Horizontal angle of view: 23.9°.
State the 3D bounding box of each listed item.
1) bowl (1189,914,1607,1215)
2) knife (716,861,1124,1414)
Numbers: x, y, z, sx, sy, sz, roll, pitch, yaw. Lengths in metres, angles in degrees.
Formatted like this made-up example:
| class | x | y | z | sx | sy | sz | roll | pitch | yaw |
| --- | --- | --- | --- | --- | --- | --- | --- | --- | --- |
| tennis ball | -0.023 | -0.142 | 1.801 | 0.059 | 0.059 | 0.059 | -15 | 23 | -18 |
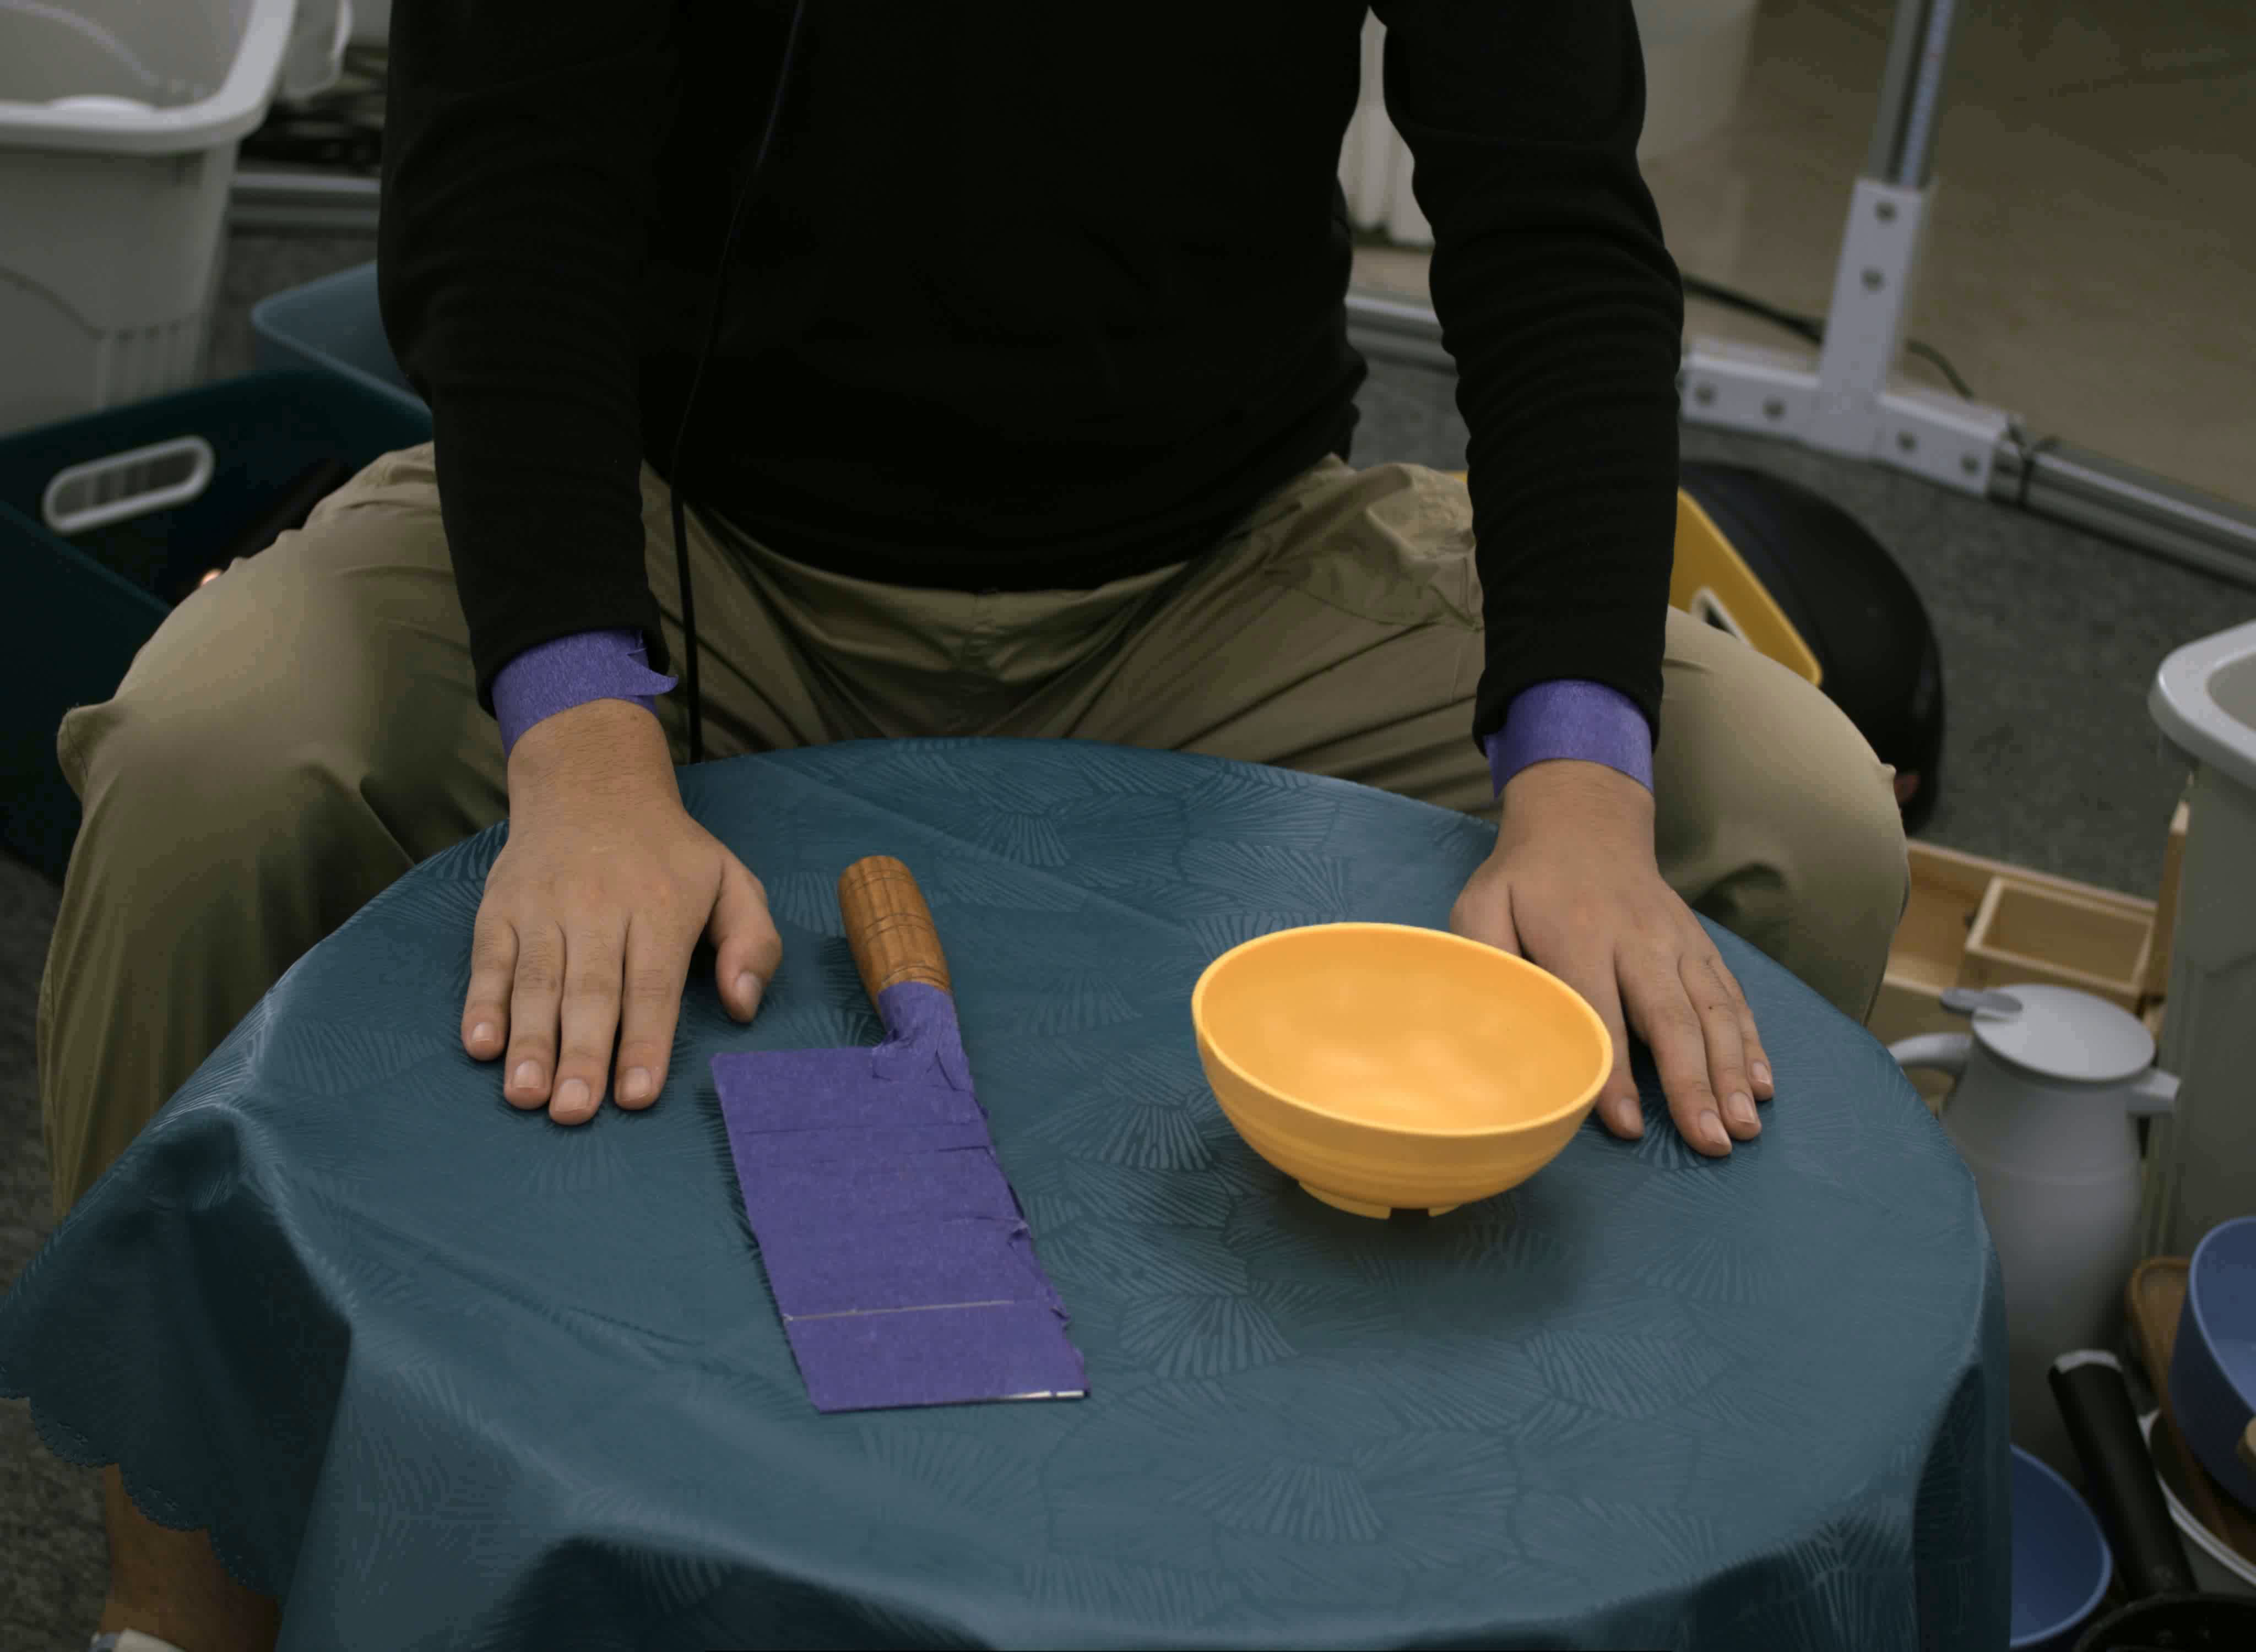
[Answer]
| class | x | y | z | sx | sy | sz | roll | pitch | yaw |
| --- | --- | --- | --- | --- | --- | --- | --- | --- | --- |
| bowl | 0.088 | 0.091 | 1.822 | 0.145 | 0.060 | 0.146 | 7 | 27 | -4 |
| knife | -0.087 | 0.100 | 1.802 | 0.103 | 0.032 | 0.318 | -1 | 28 | -15 |
